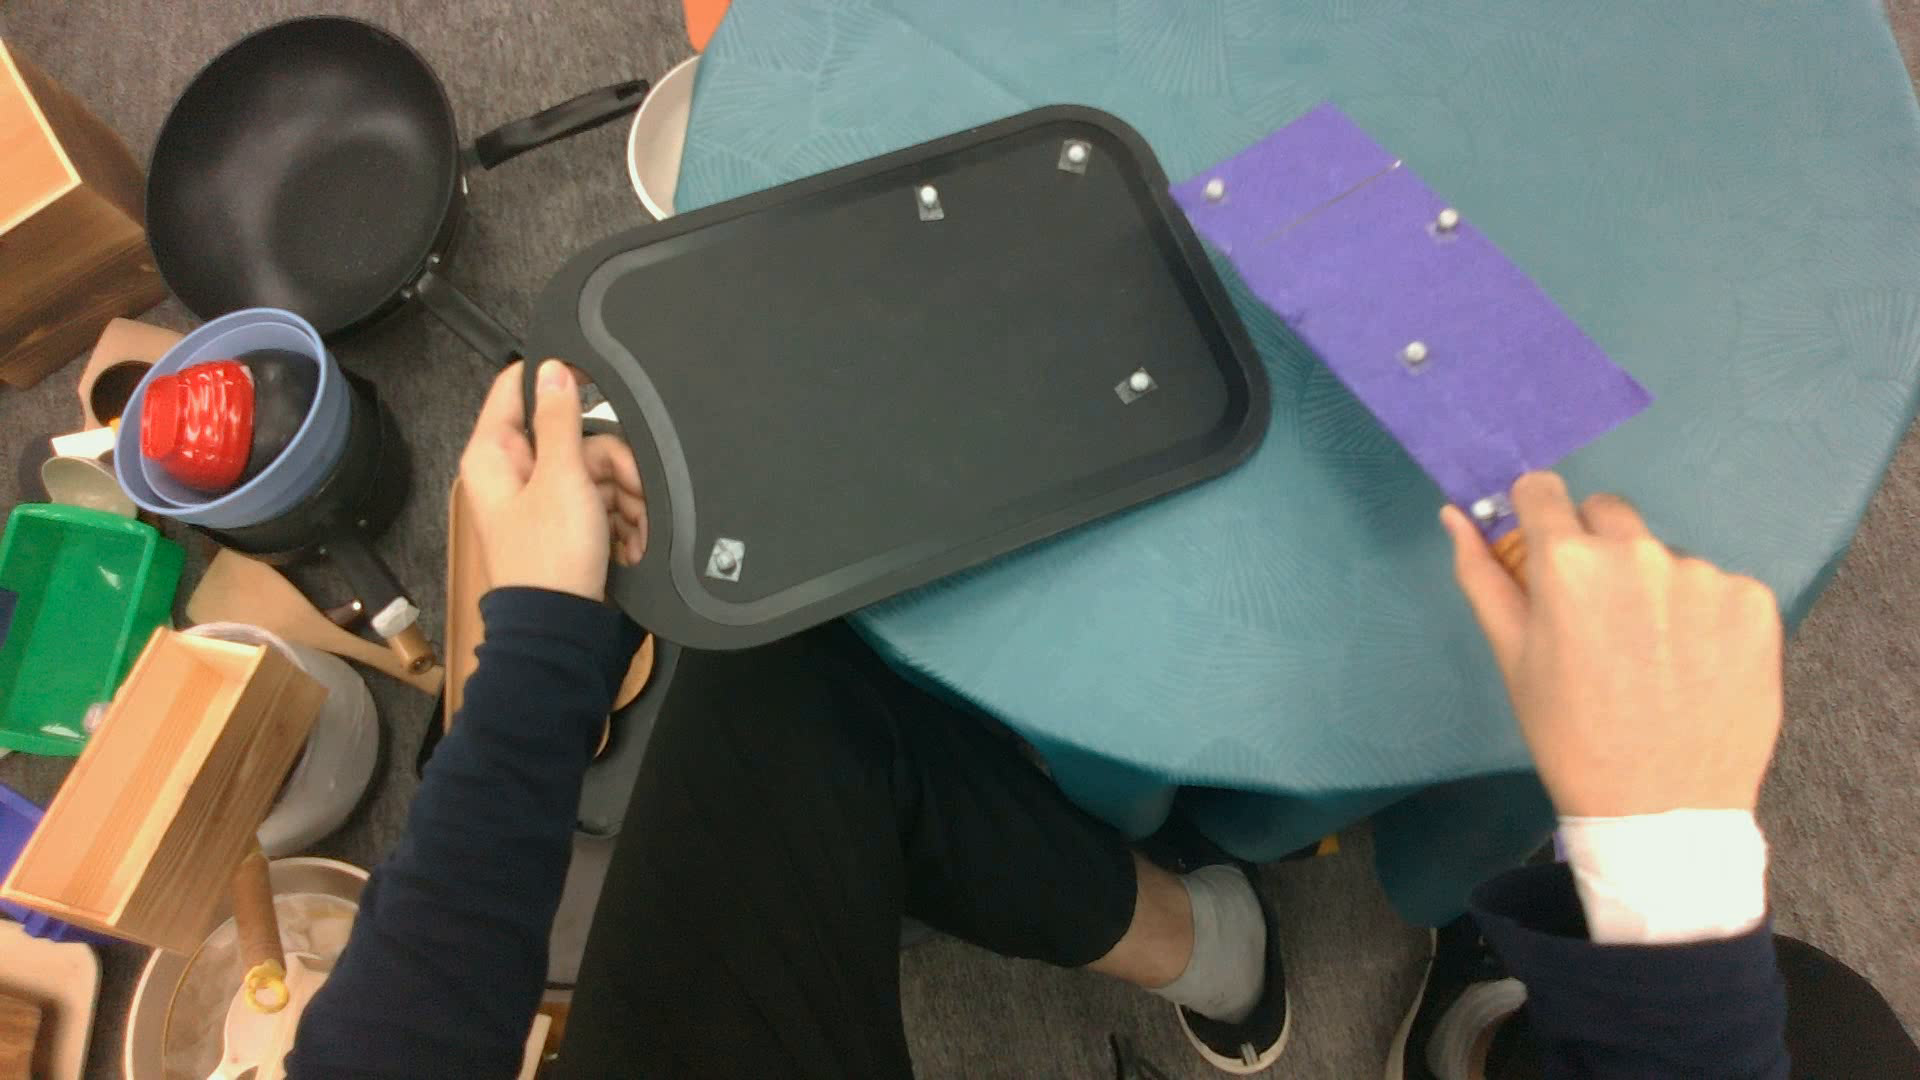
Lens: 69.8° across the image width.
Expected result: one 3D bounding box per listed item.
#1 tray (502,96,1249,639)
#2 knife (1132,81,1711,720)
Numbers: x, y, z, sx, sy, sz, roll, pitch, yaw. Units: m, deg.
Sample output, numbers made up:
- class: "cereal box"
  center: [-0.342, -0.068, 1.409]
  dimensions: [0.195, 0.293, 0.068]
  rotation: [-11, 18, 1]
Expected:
- class: "tray"
  center: [-0.041, -0.086, 0.626]
  dimensions: [0.326, 0.010, 0.211]
  rotation: [-20, 73, -12]
- class: "knife"
  center: [0.197, -0.078, 0.549]
  dimensions: [0.104, 0.032, 0.316]
  rotation: [-30, 65, -8]
